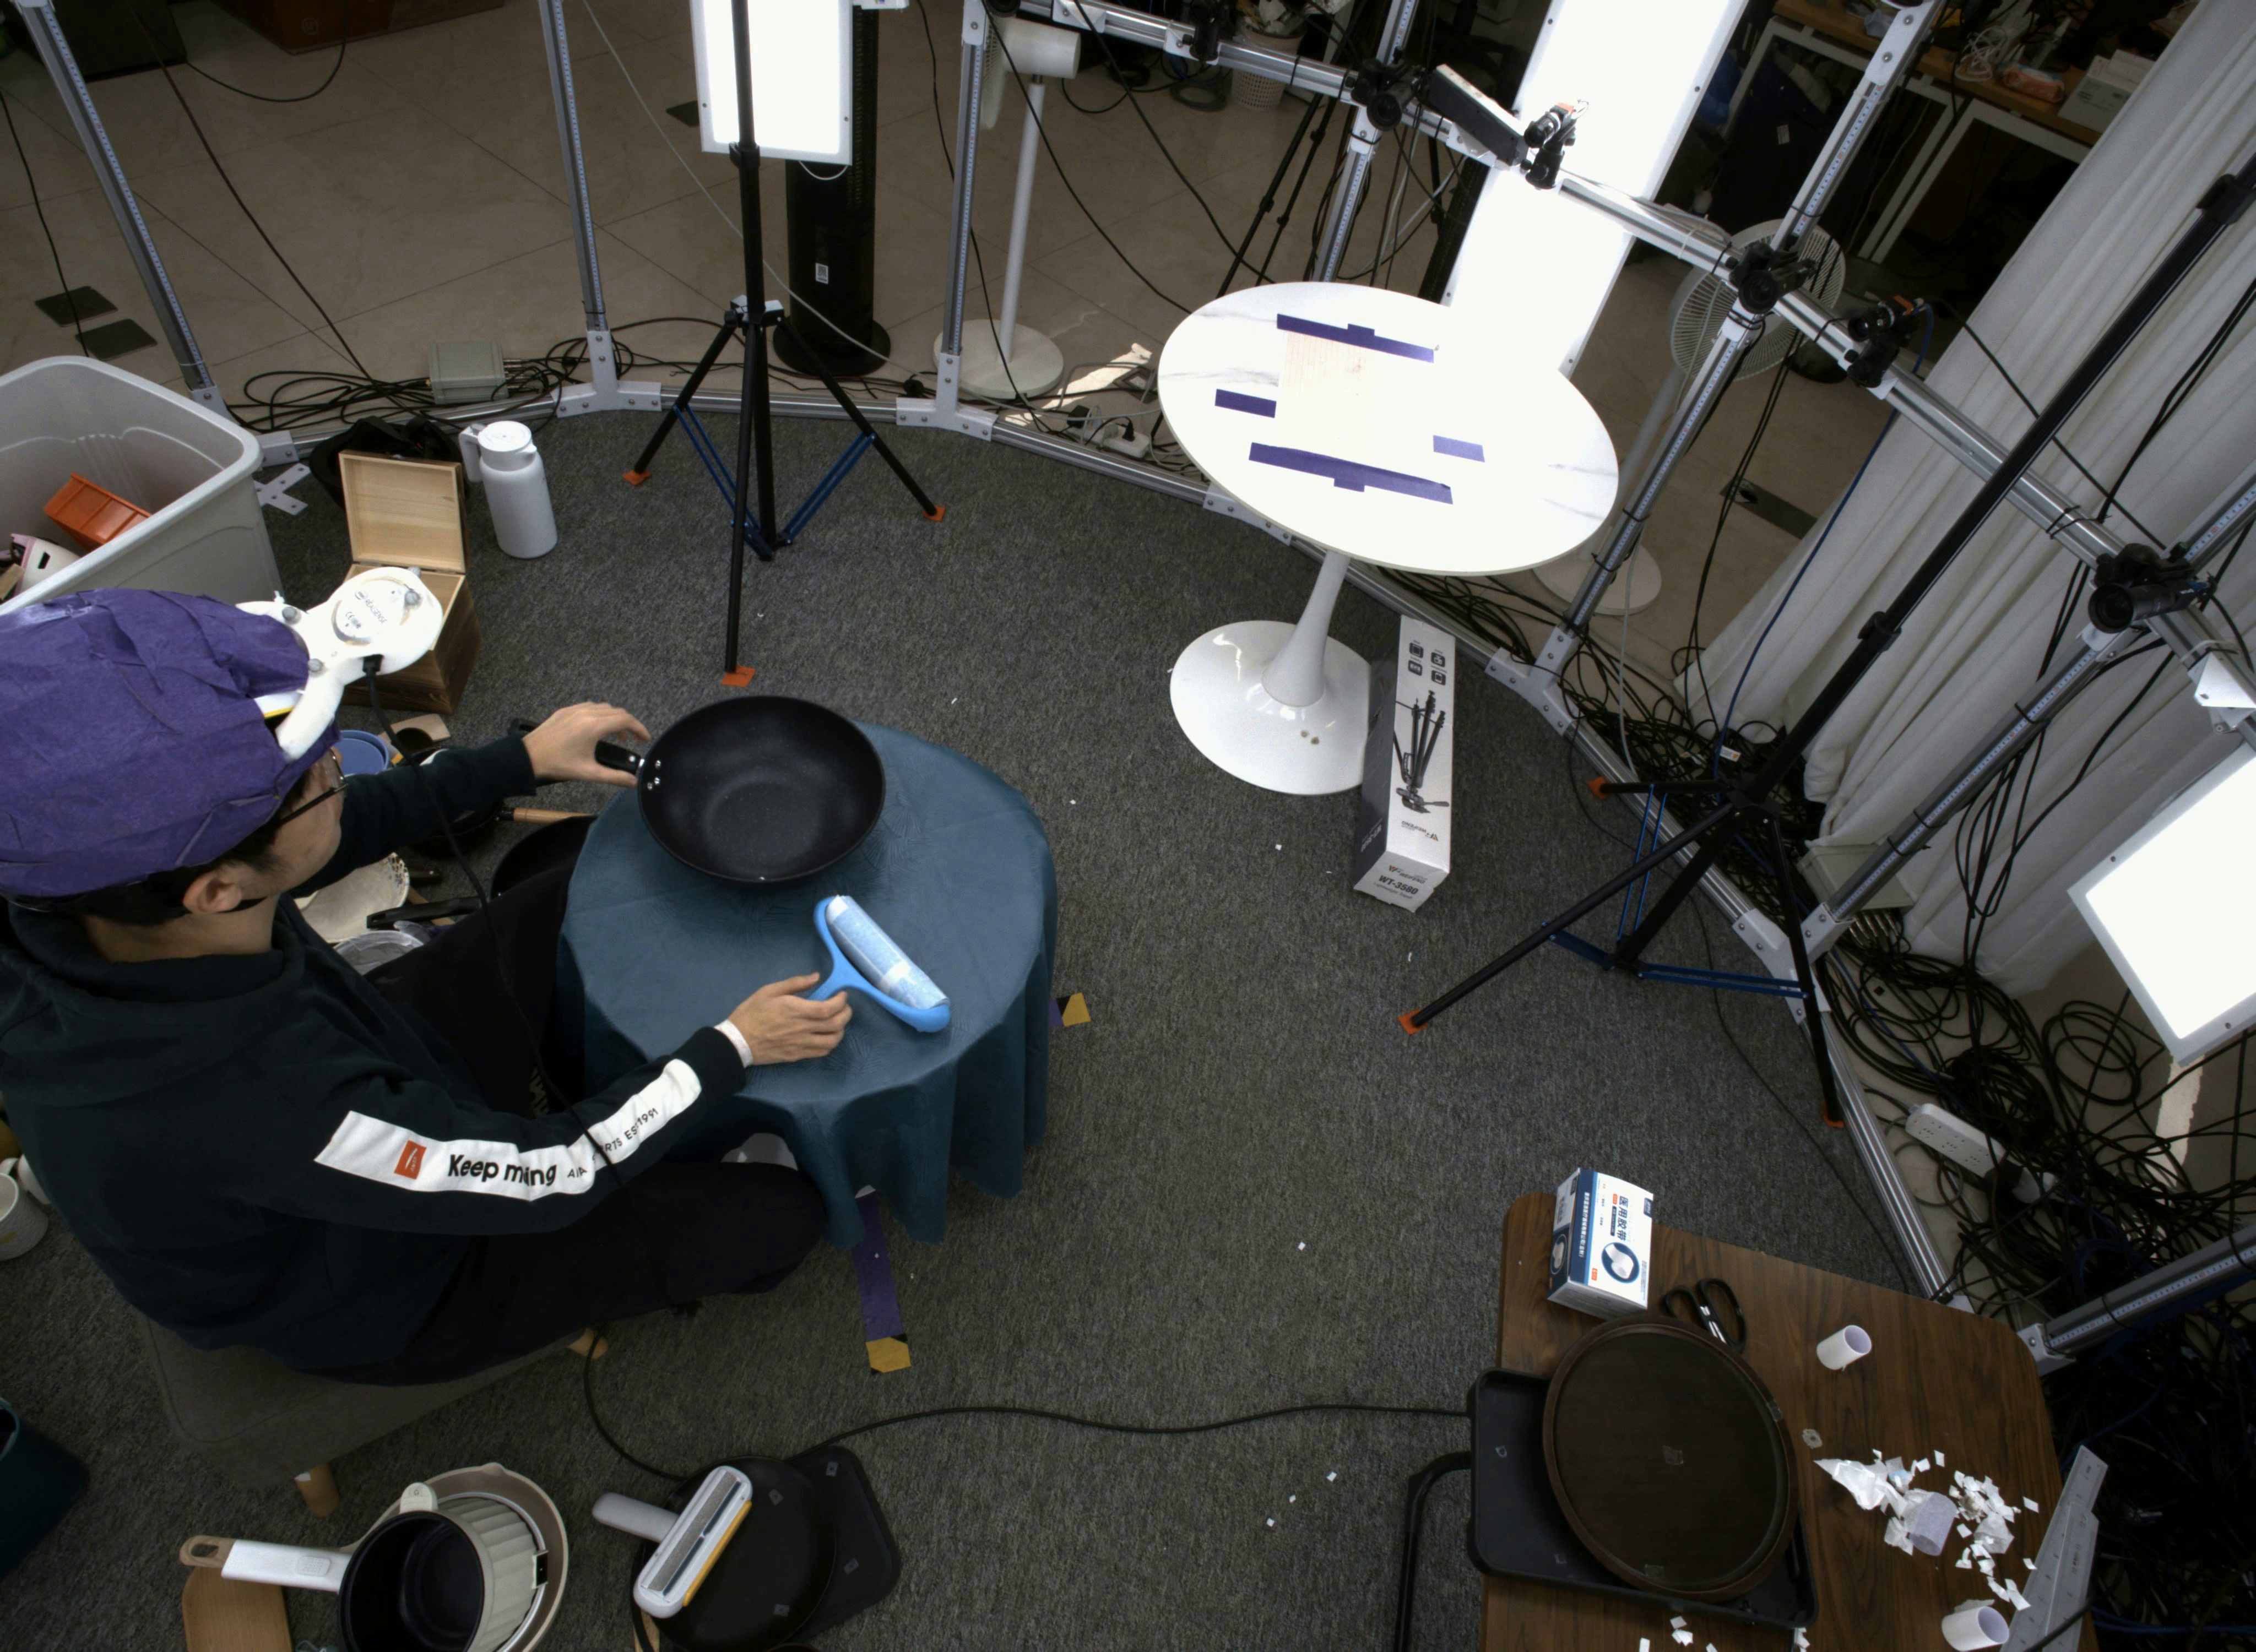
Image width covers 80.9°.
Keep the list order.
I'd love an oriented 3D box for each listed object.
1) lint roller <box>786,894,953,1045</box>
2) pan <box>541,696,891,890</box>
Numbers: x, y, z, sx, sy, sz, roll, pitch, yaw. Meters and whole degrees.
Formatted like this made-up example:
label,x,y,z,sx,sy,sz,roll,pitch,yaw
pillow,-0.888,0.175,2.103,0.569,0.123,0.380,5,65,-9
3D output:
label,x,y,z,sx,sy,sz,roll,pitch,yaw
lint roller,-0.338,0.194,1.574,0.225,0.069,0.180,41,55,14
pan,-0.546,-0.051,1.666,0.476,0.114,0.305,10,51,-8
